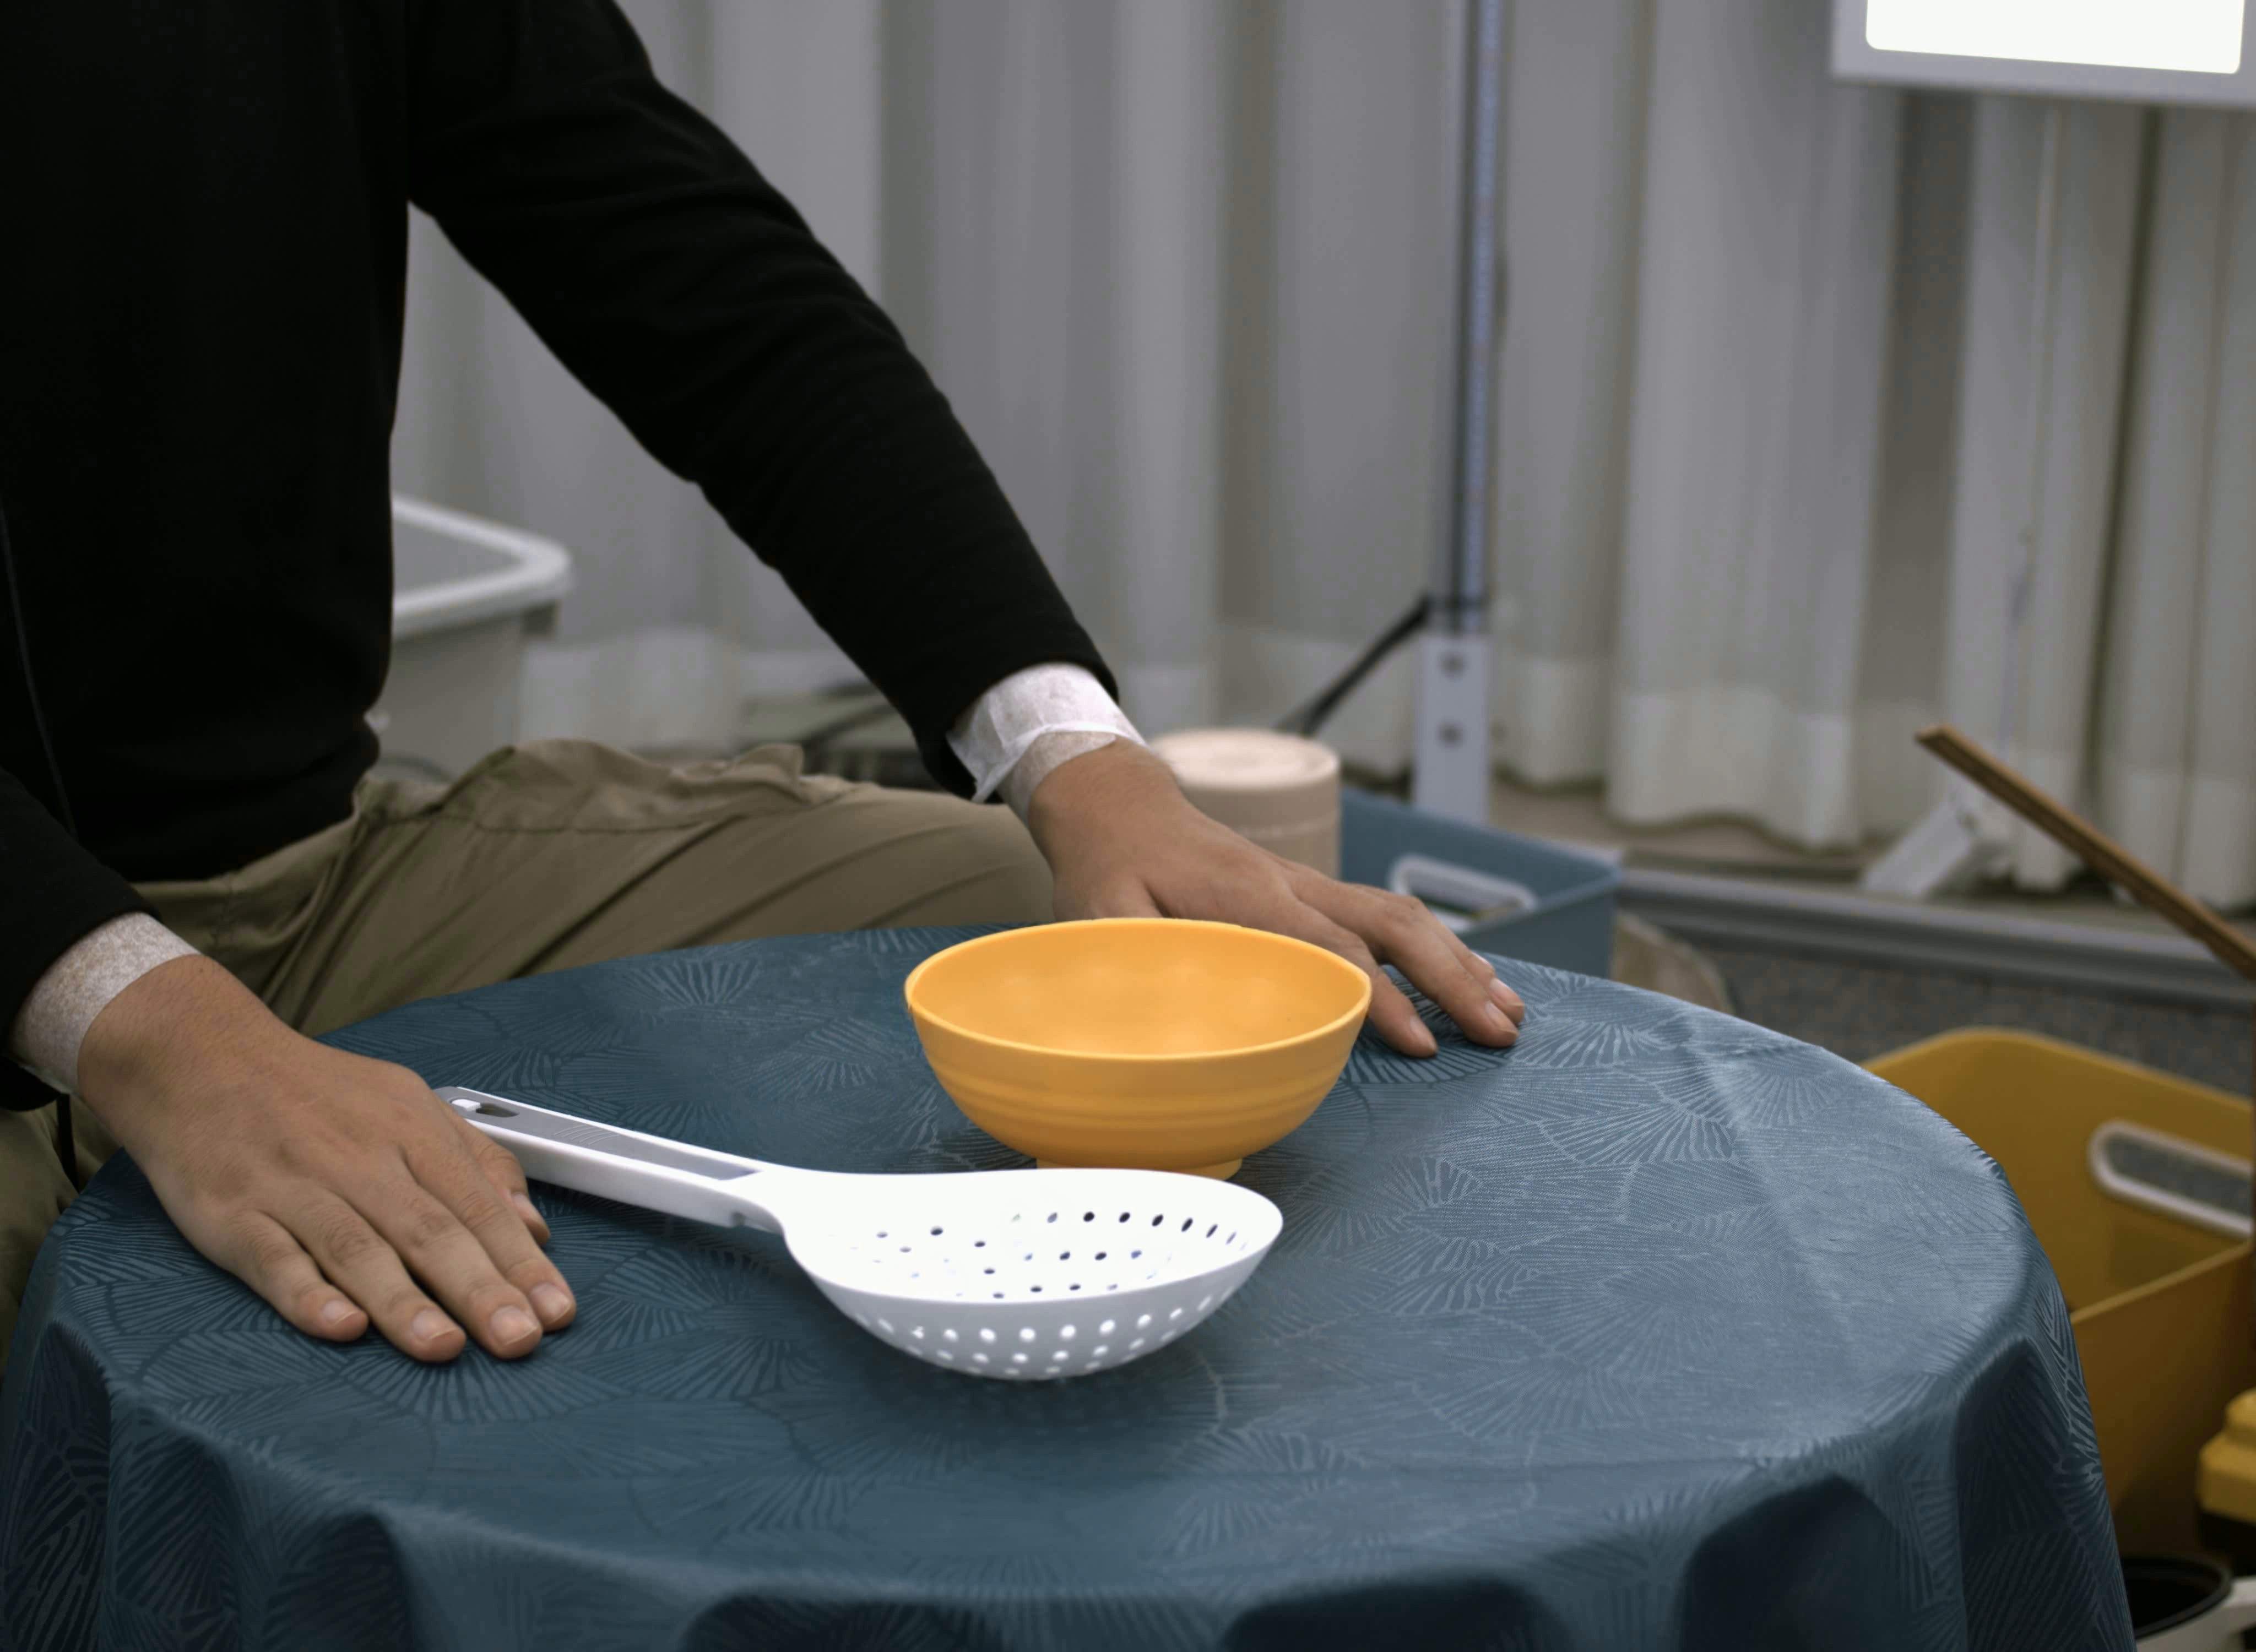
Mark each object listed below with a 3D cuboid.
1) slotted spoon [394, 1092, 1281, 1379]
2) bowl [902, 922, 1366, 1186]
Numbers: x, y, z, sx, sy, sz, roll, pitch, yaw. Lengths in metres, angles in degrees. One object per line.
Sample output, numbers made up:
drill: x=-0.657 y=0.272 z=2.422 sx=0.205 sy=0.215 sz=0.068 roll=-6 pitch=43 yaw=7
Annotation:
slotted spoon: x=-0.101 y=0.109 z=1.541 sx=0.345 sy=0.046 sz=0.137 roll=14 pitch=20 yaw=42
bowl: x=0.001 y=0.078 z=1.639 sx=0.145 sy=0.060 sz=0.144 roll=3 pitch=15 yaw=0
